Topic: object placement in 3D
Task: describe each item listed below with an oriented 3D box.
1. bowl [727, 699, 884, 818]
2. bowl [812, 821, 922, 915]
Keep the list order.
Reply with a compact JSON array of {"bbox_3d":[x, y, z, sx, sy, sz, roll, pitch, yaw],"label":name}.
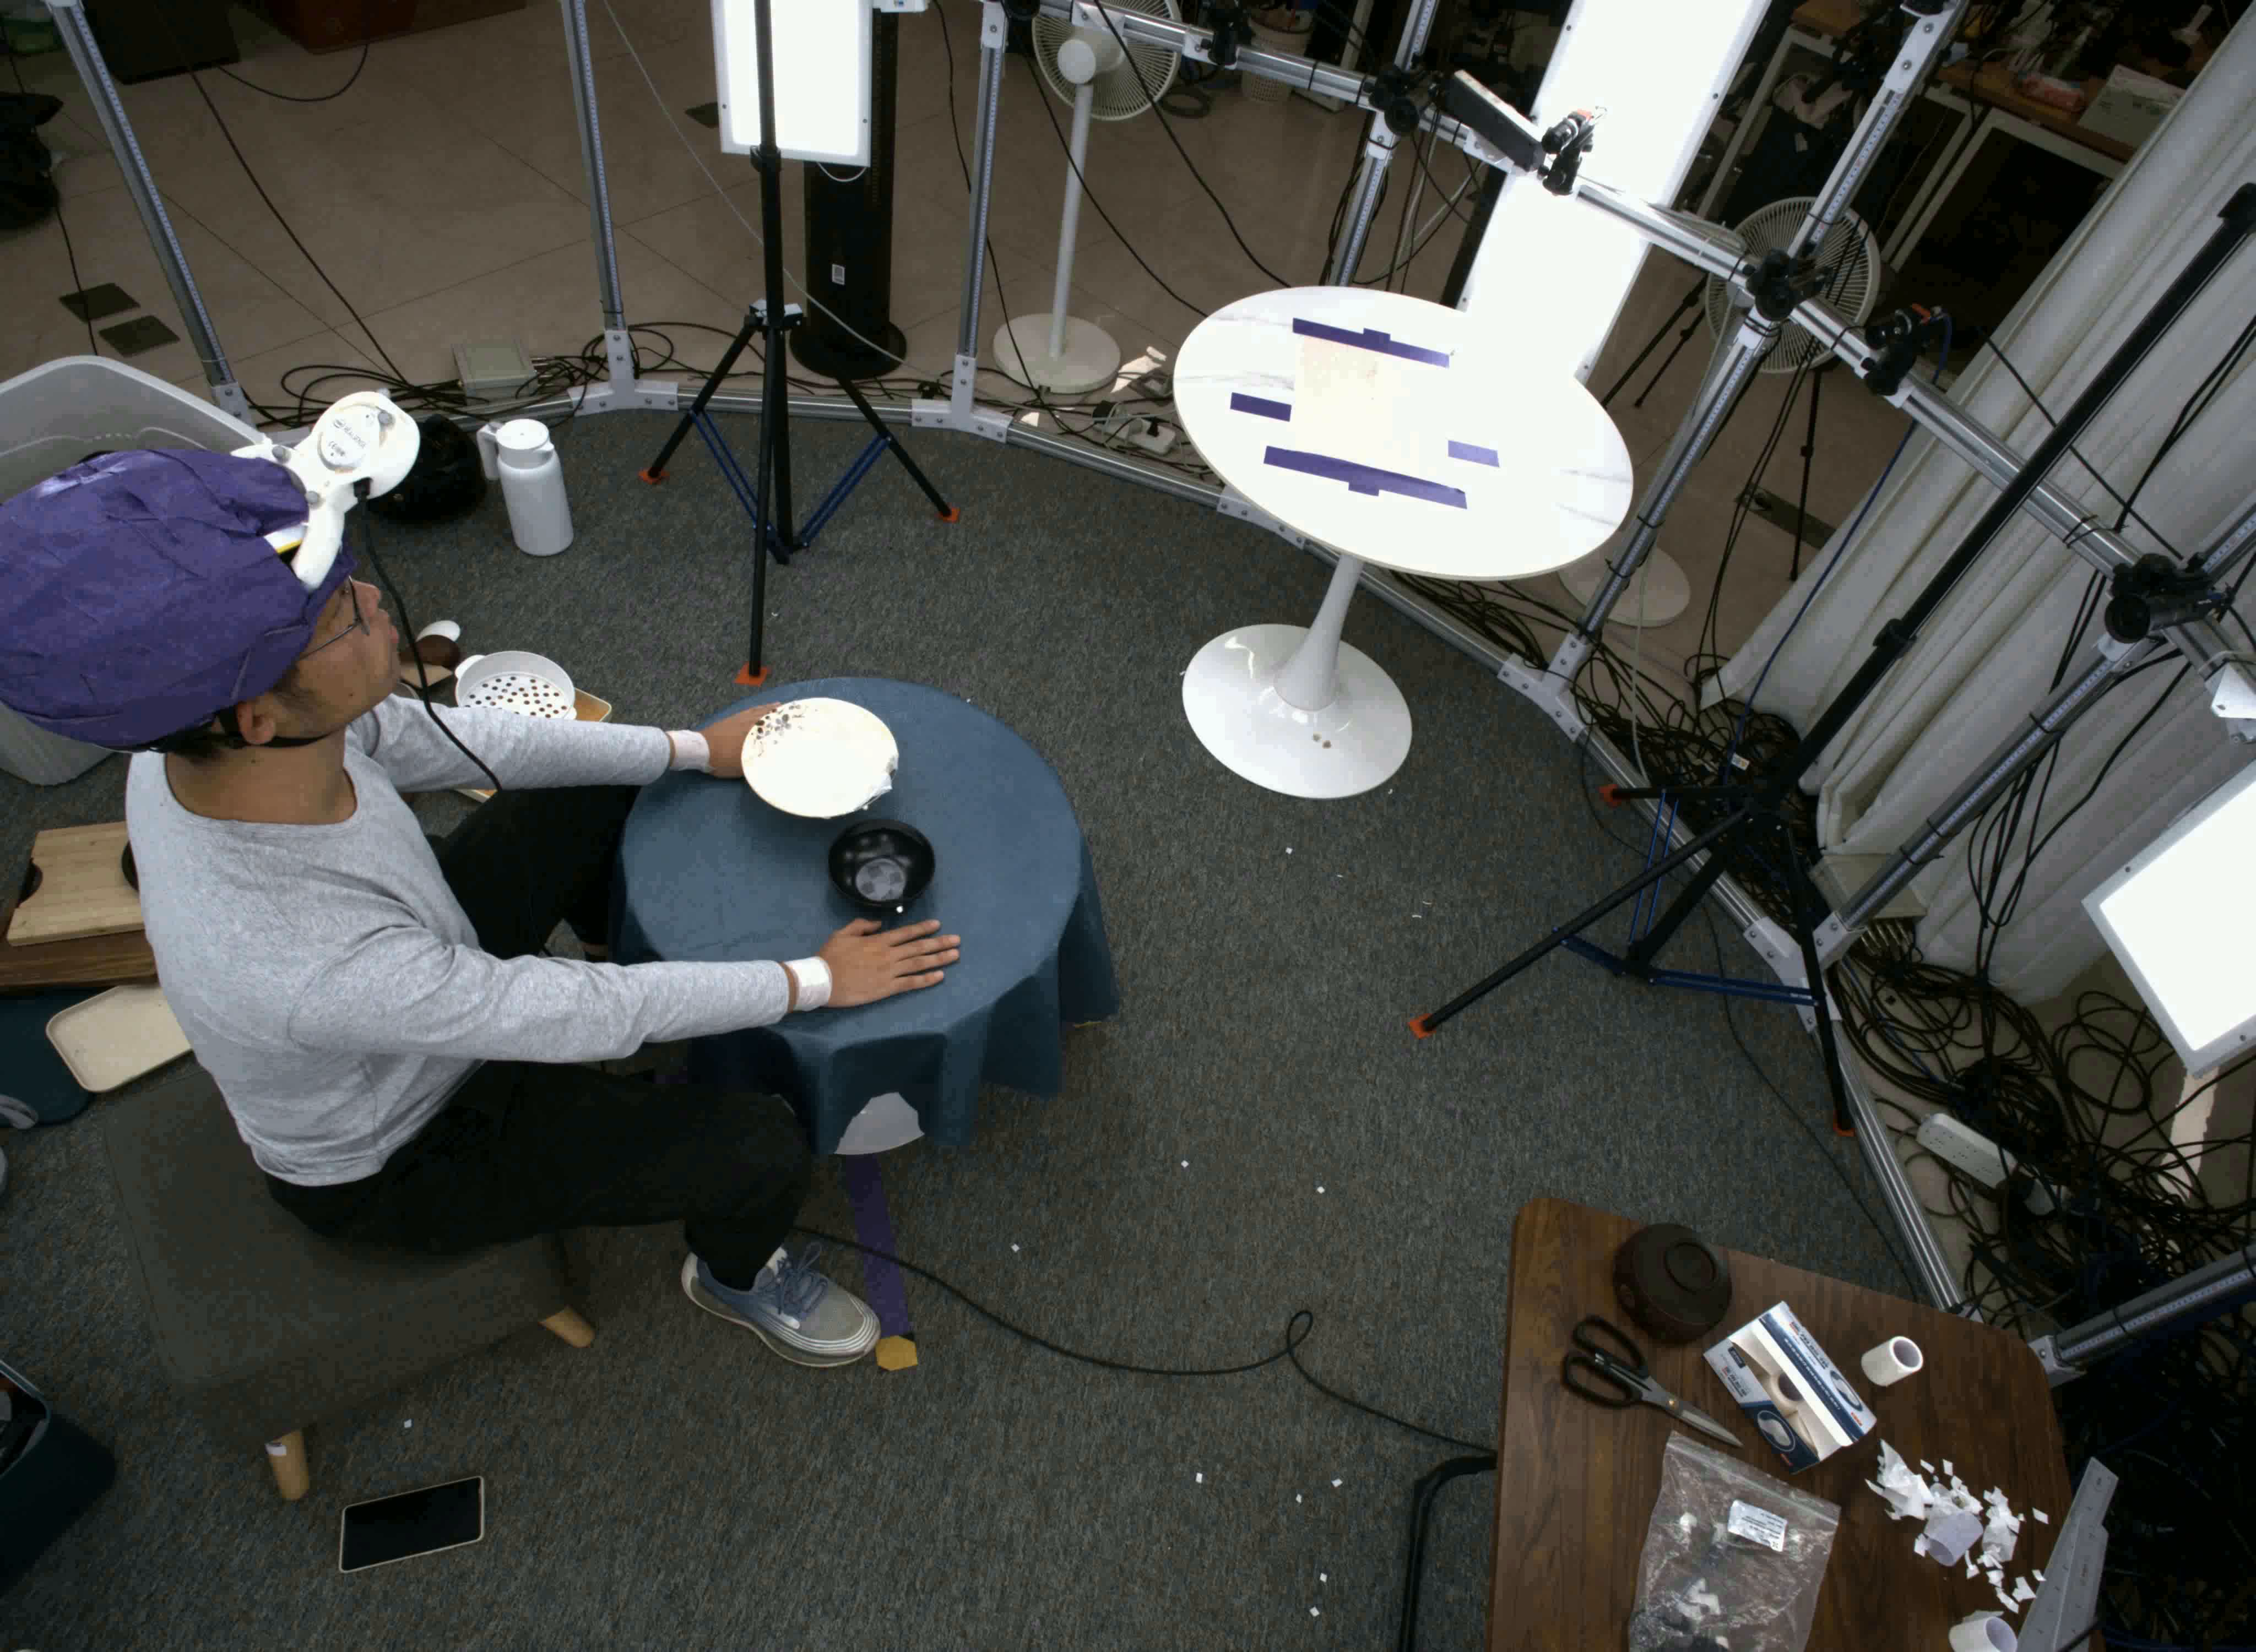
[{"bbox_3d":[-0.429,-0.070,1.735,0.203,0.079,0.200,7,52,-8],"label":"bowl"},{"bbox_3d":[-0.337,0.062,1.683,0.139,0.051,0.137,5,53,-5],"label":"bowl"}]
